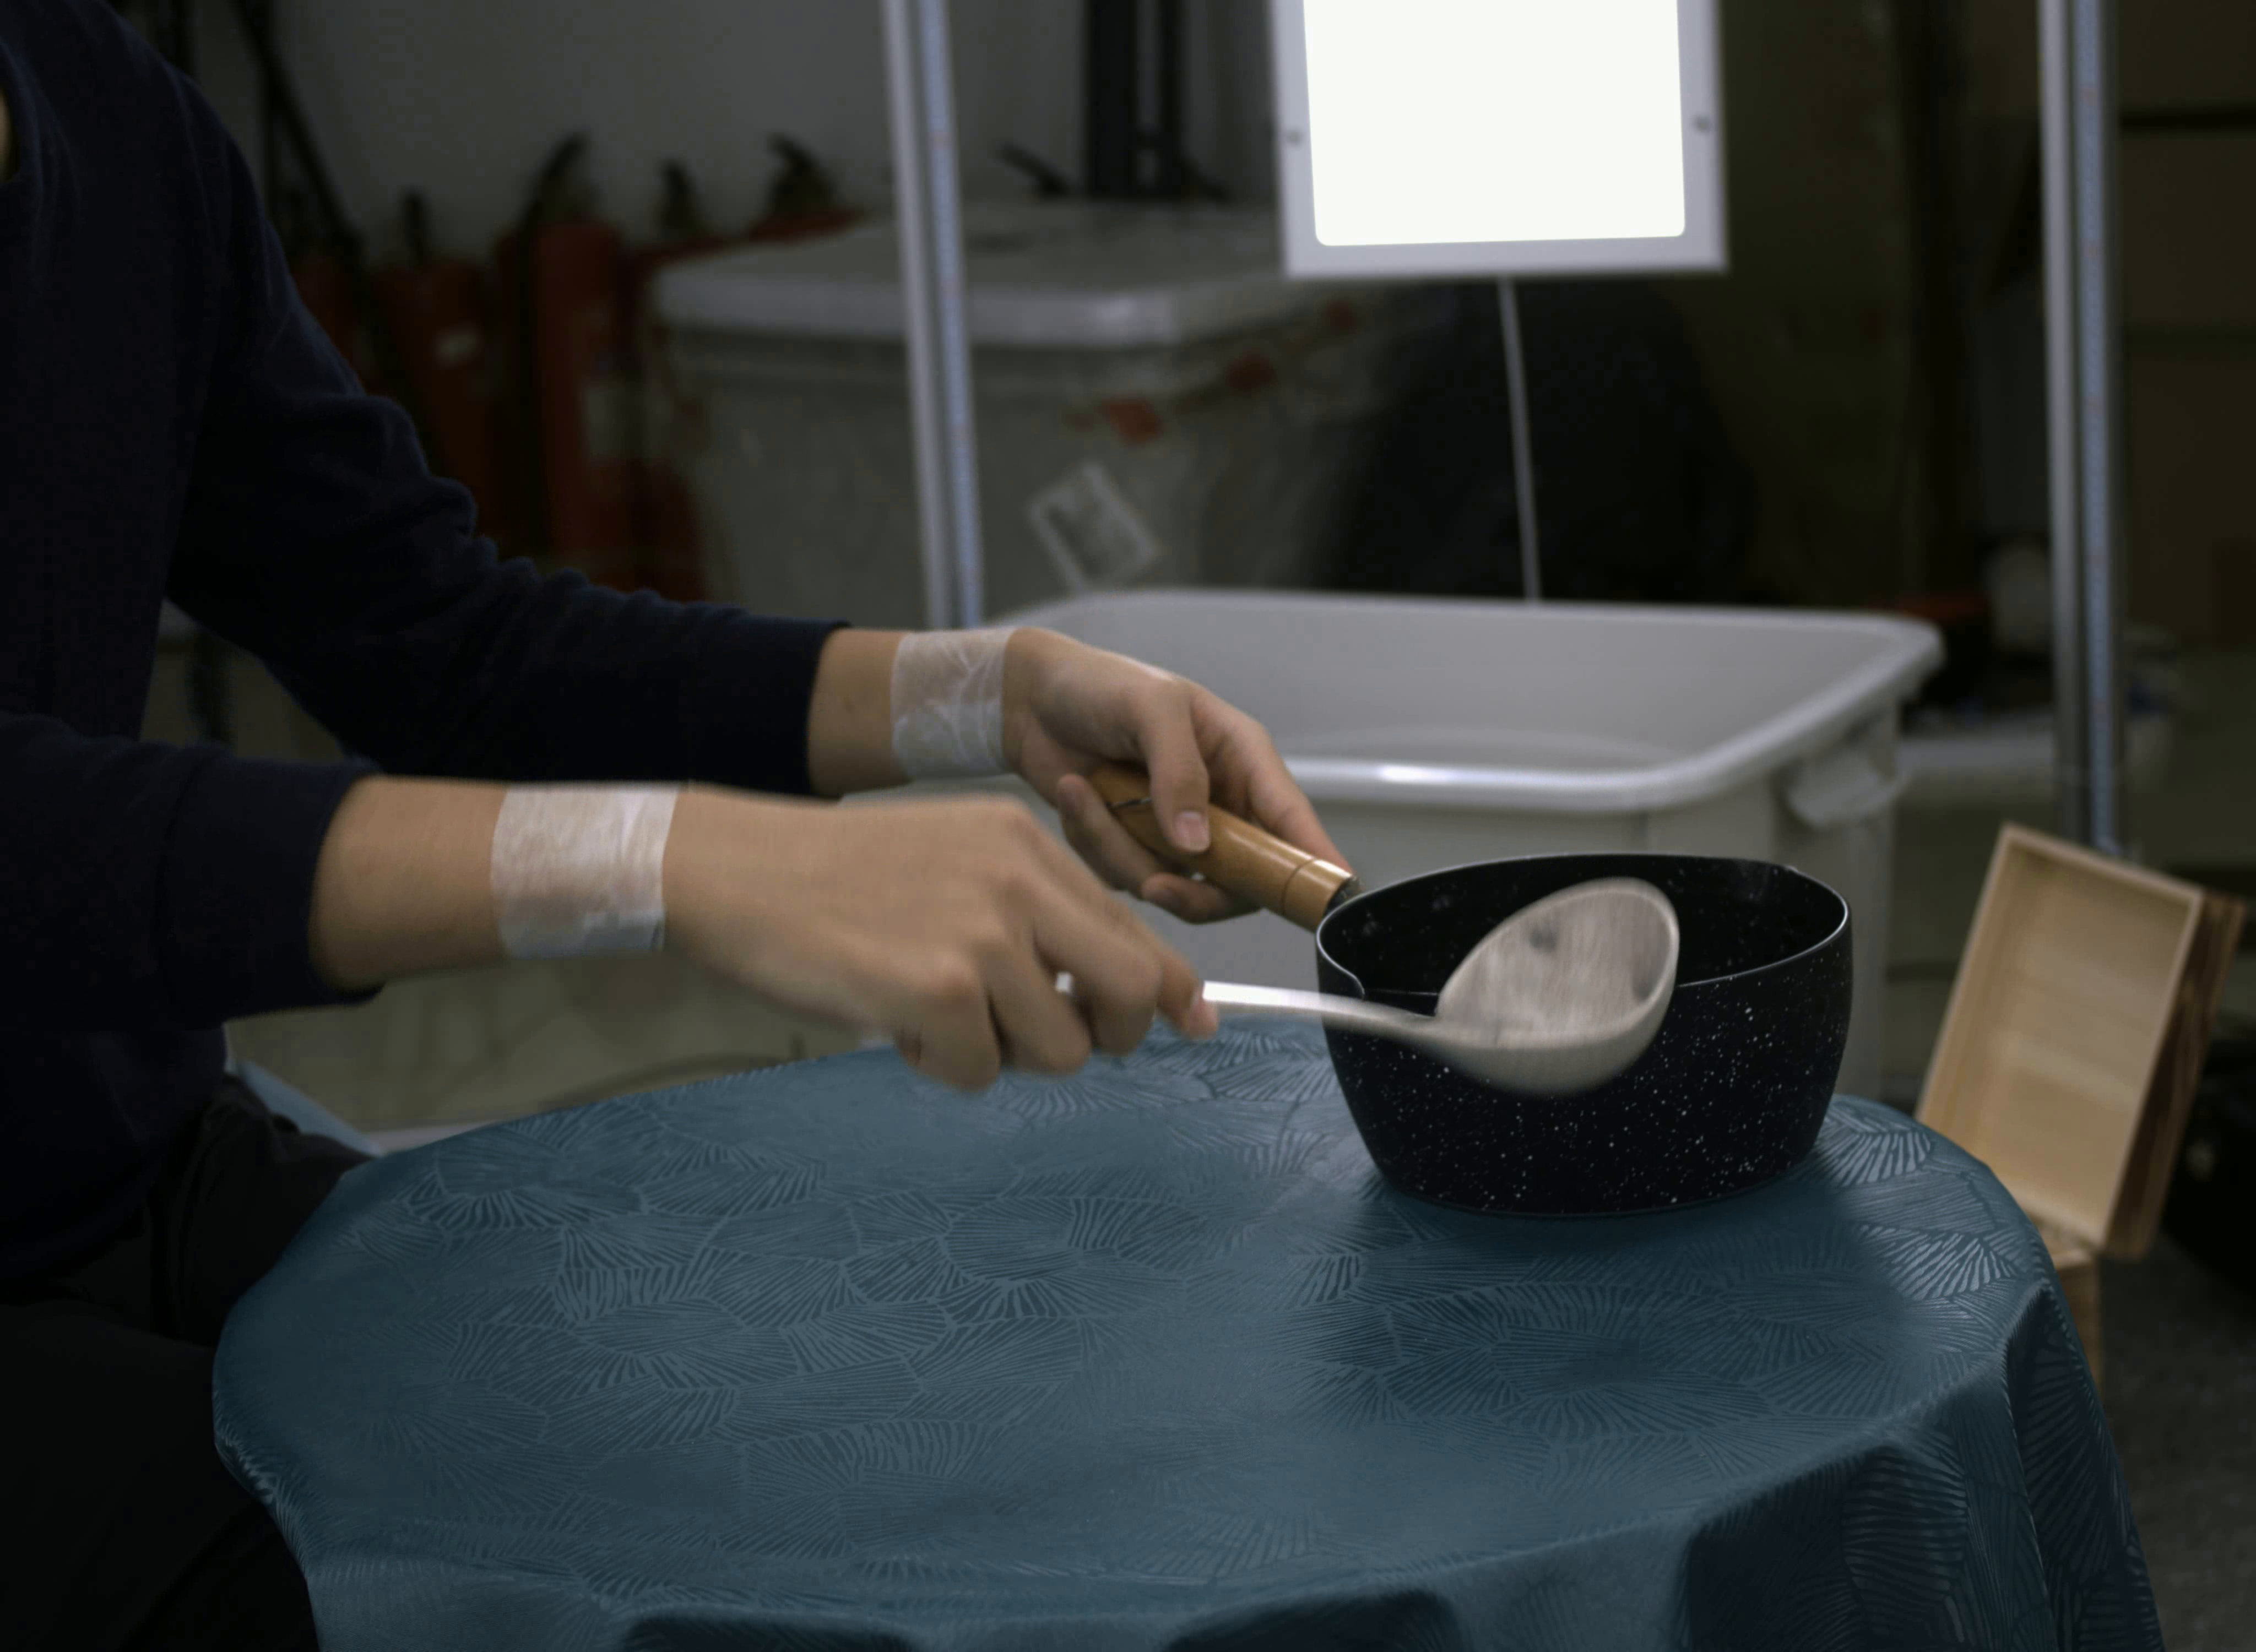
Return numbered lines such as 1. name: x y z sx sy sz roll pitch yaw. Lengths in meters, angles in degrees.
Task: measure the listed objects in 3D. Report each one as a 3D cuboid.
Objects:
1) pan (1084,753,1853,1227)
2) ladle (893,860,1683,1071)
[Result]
1. pan: 0.104 0.051 1.939 0.202 0.108 0.350 -18 20 -38
2. ladle: 0.050 0.030 1.648 0.268 0.070 0.091 8 6 -35
